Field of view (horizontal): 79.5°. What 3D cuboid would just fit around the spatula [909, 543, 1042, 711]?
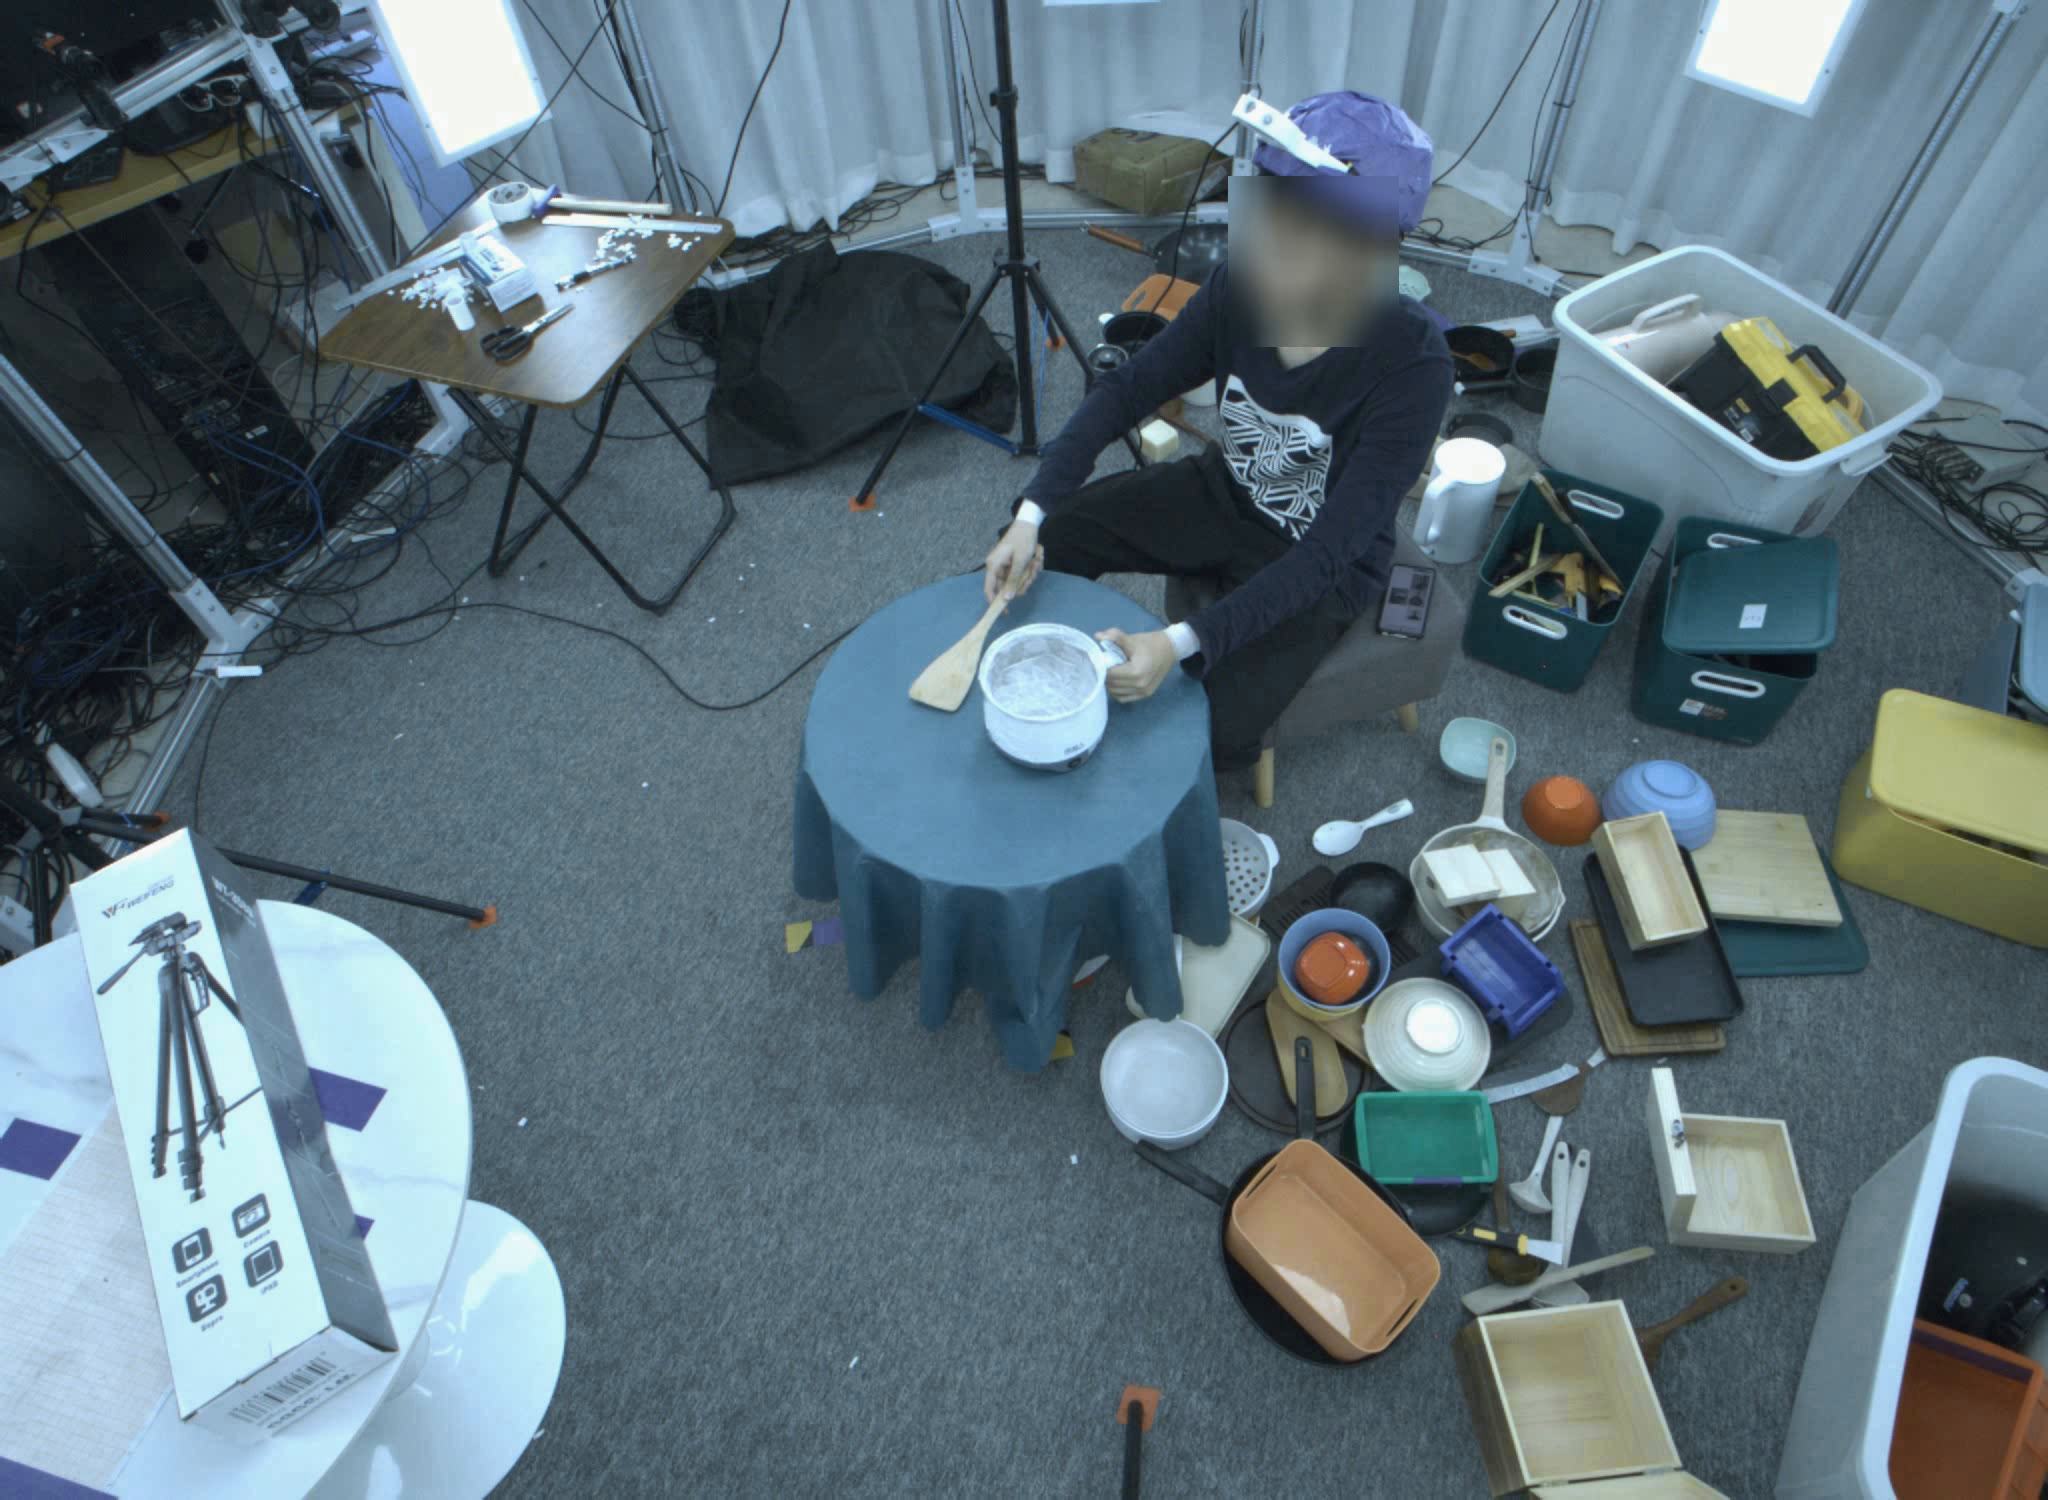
[{"bbox_3d":[-0.060,-0.195,1.890,0.079,0.016,0.328,30,72,8],"label":"spatula"}]

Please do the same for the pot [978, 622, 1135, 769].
[{"bbox_3d":[0.053,-0.087,1.767,0.235,0.138,0.175,-26,59,-14],"label":"pot"}]
